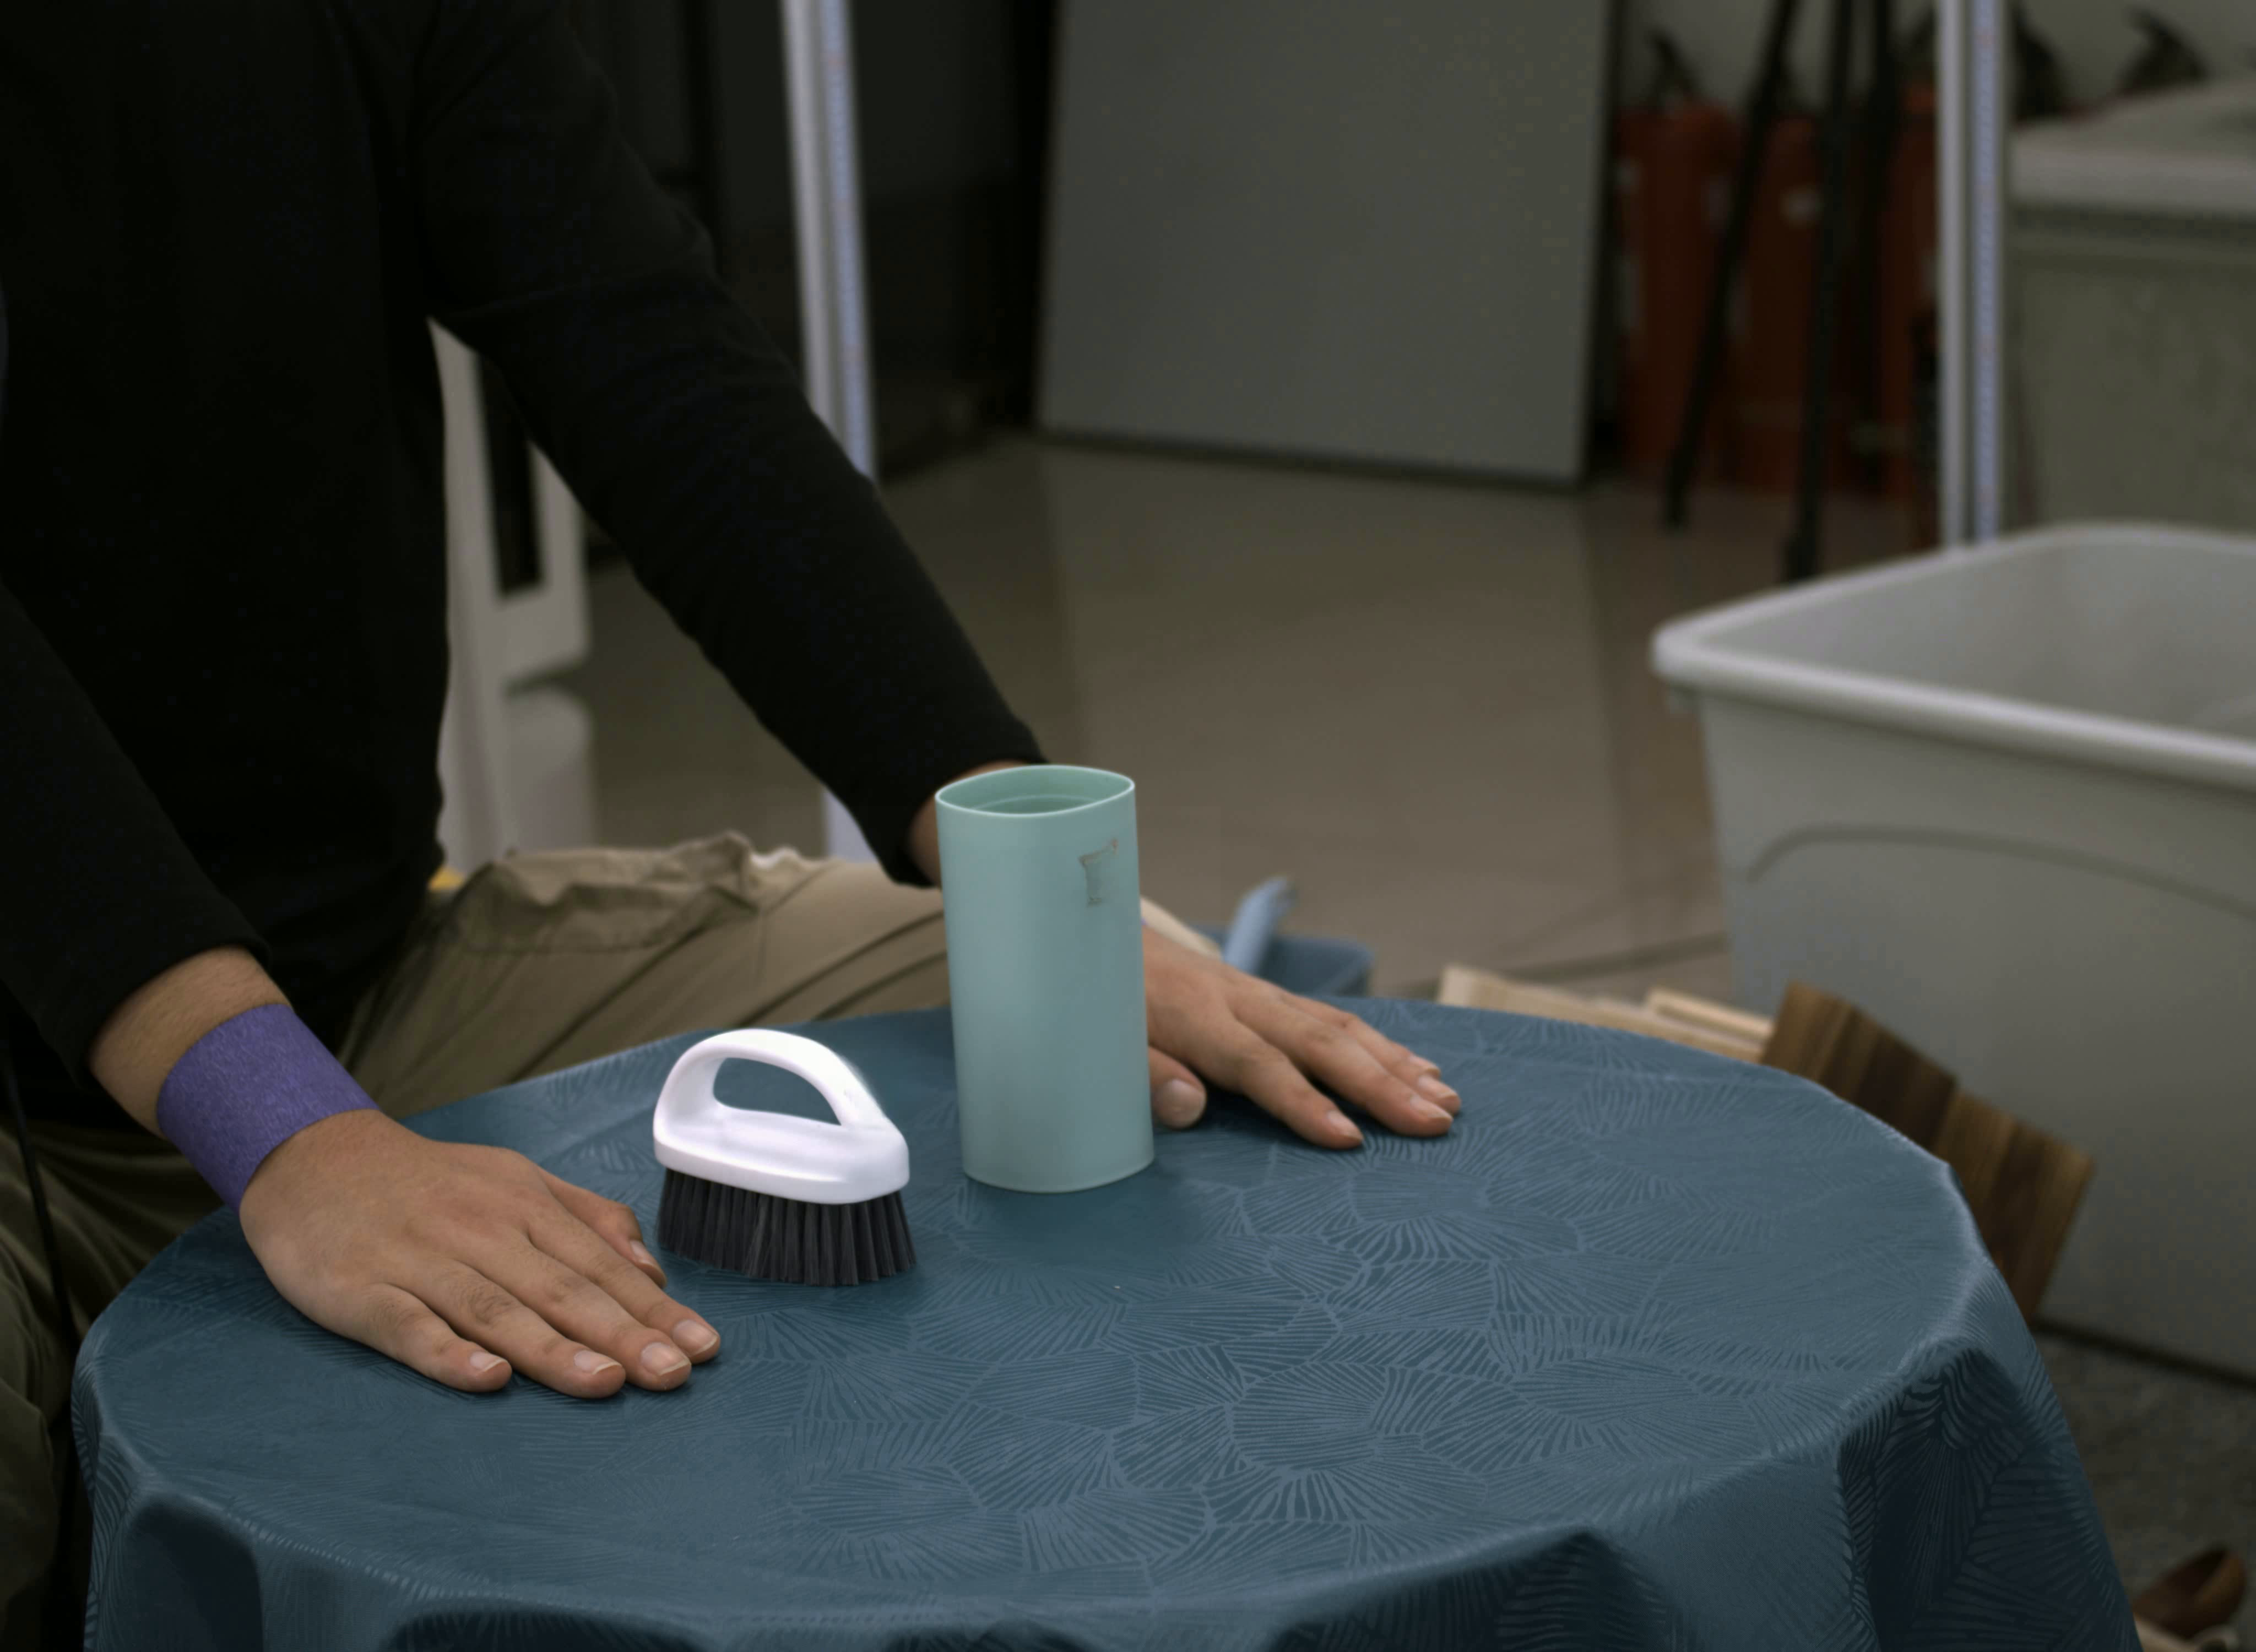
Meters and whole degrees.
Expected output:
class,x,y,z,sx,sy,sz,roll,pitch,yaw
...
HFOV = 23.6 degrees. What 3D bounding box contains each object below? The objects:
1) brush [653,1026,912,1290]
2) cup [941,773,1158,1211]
class,x,y,z,sx,sy,sz,roll,pitch,yaw
brush,-0.112,0.101,1.725,0.049,0.073,0.100,-15,18,-43
cup,-0.026,0.054,1.788,0.066,0.134,0.067,-4,14,0
